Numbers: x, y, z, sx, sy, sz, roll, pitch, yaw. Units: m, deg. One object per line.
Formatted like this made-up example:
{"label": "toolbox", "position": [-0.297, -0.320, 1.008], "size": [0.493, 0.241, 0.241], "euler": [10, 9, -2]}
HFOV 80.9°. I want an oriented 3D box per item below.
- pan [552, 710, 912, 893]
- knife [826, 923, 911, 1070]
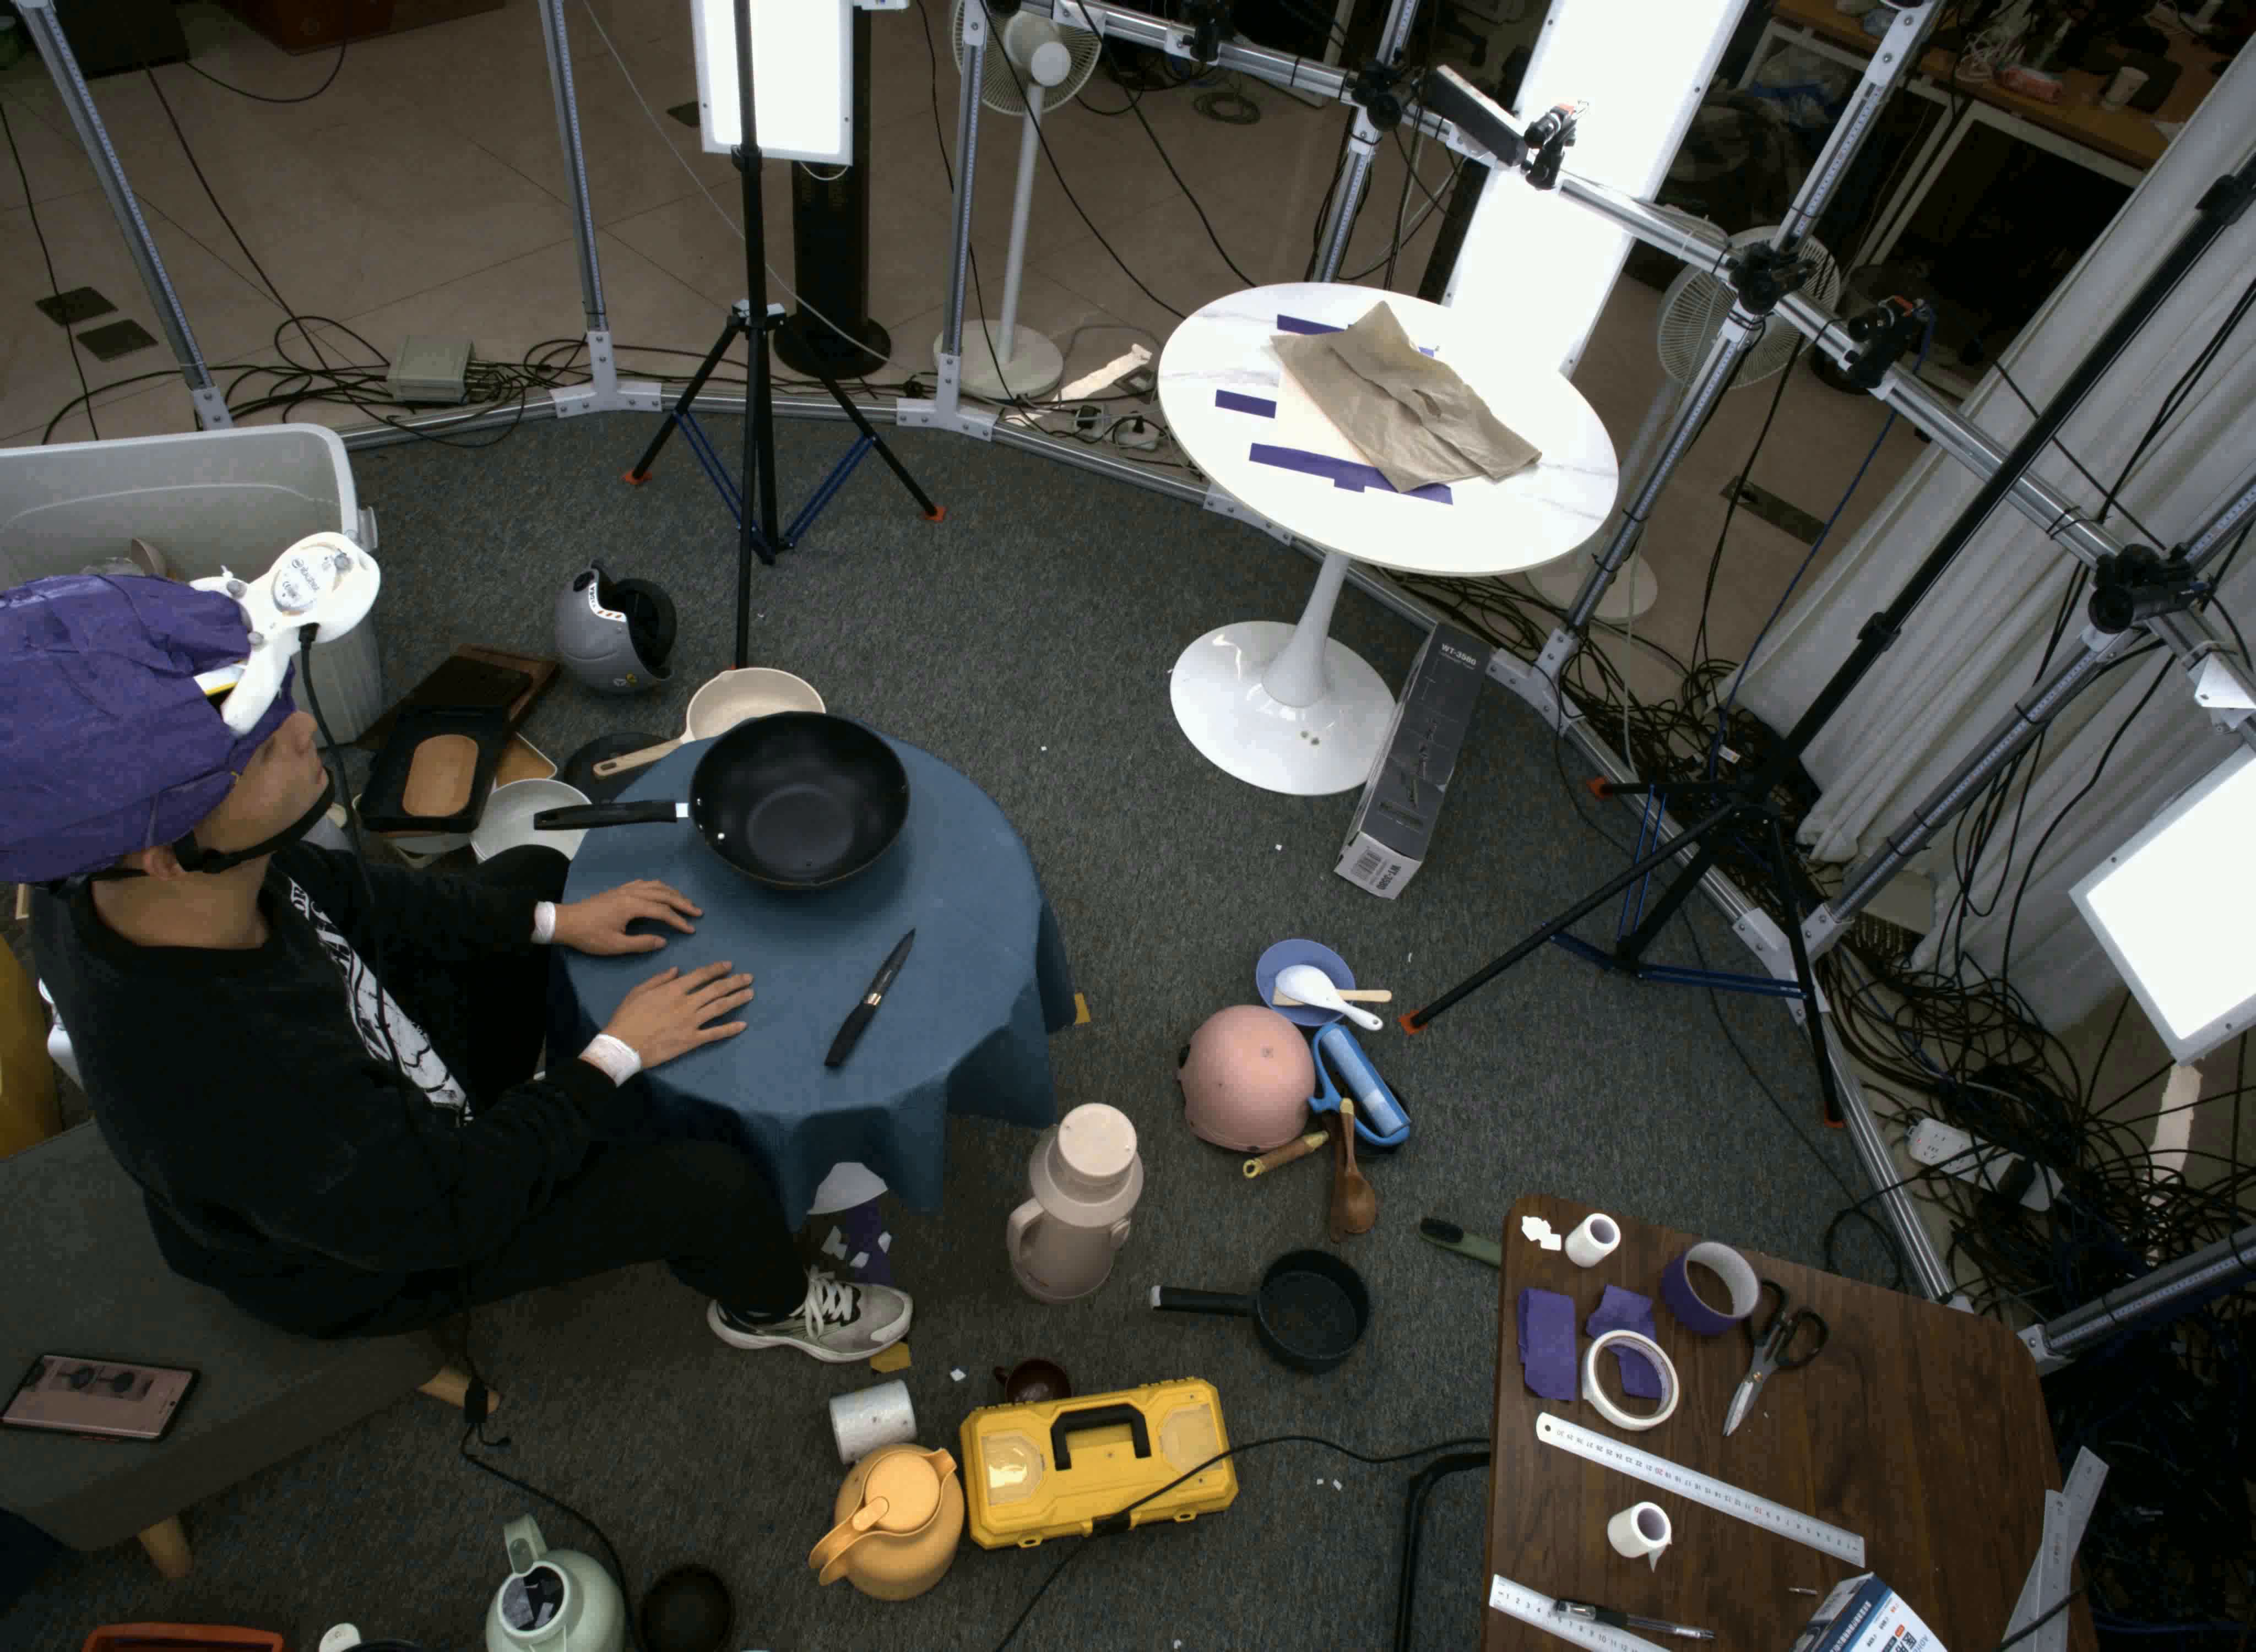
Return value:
{"label": "pan", "position": [-0.508, -0.009, 1.655], "size": [0.465, 0.088, 0.281], "euler": [-7, 56, -18]}
{"label": "knife", "position": [-0.312, 0.202, 1.594], "size": [0.025, 0.018, 0.223], "euler": [14, 50, 15]}
